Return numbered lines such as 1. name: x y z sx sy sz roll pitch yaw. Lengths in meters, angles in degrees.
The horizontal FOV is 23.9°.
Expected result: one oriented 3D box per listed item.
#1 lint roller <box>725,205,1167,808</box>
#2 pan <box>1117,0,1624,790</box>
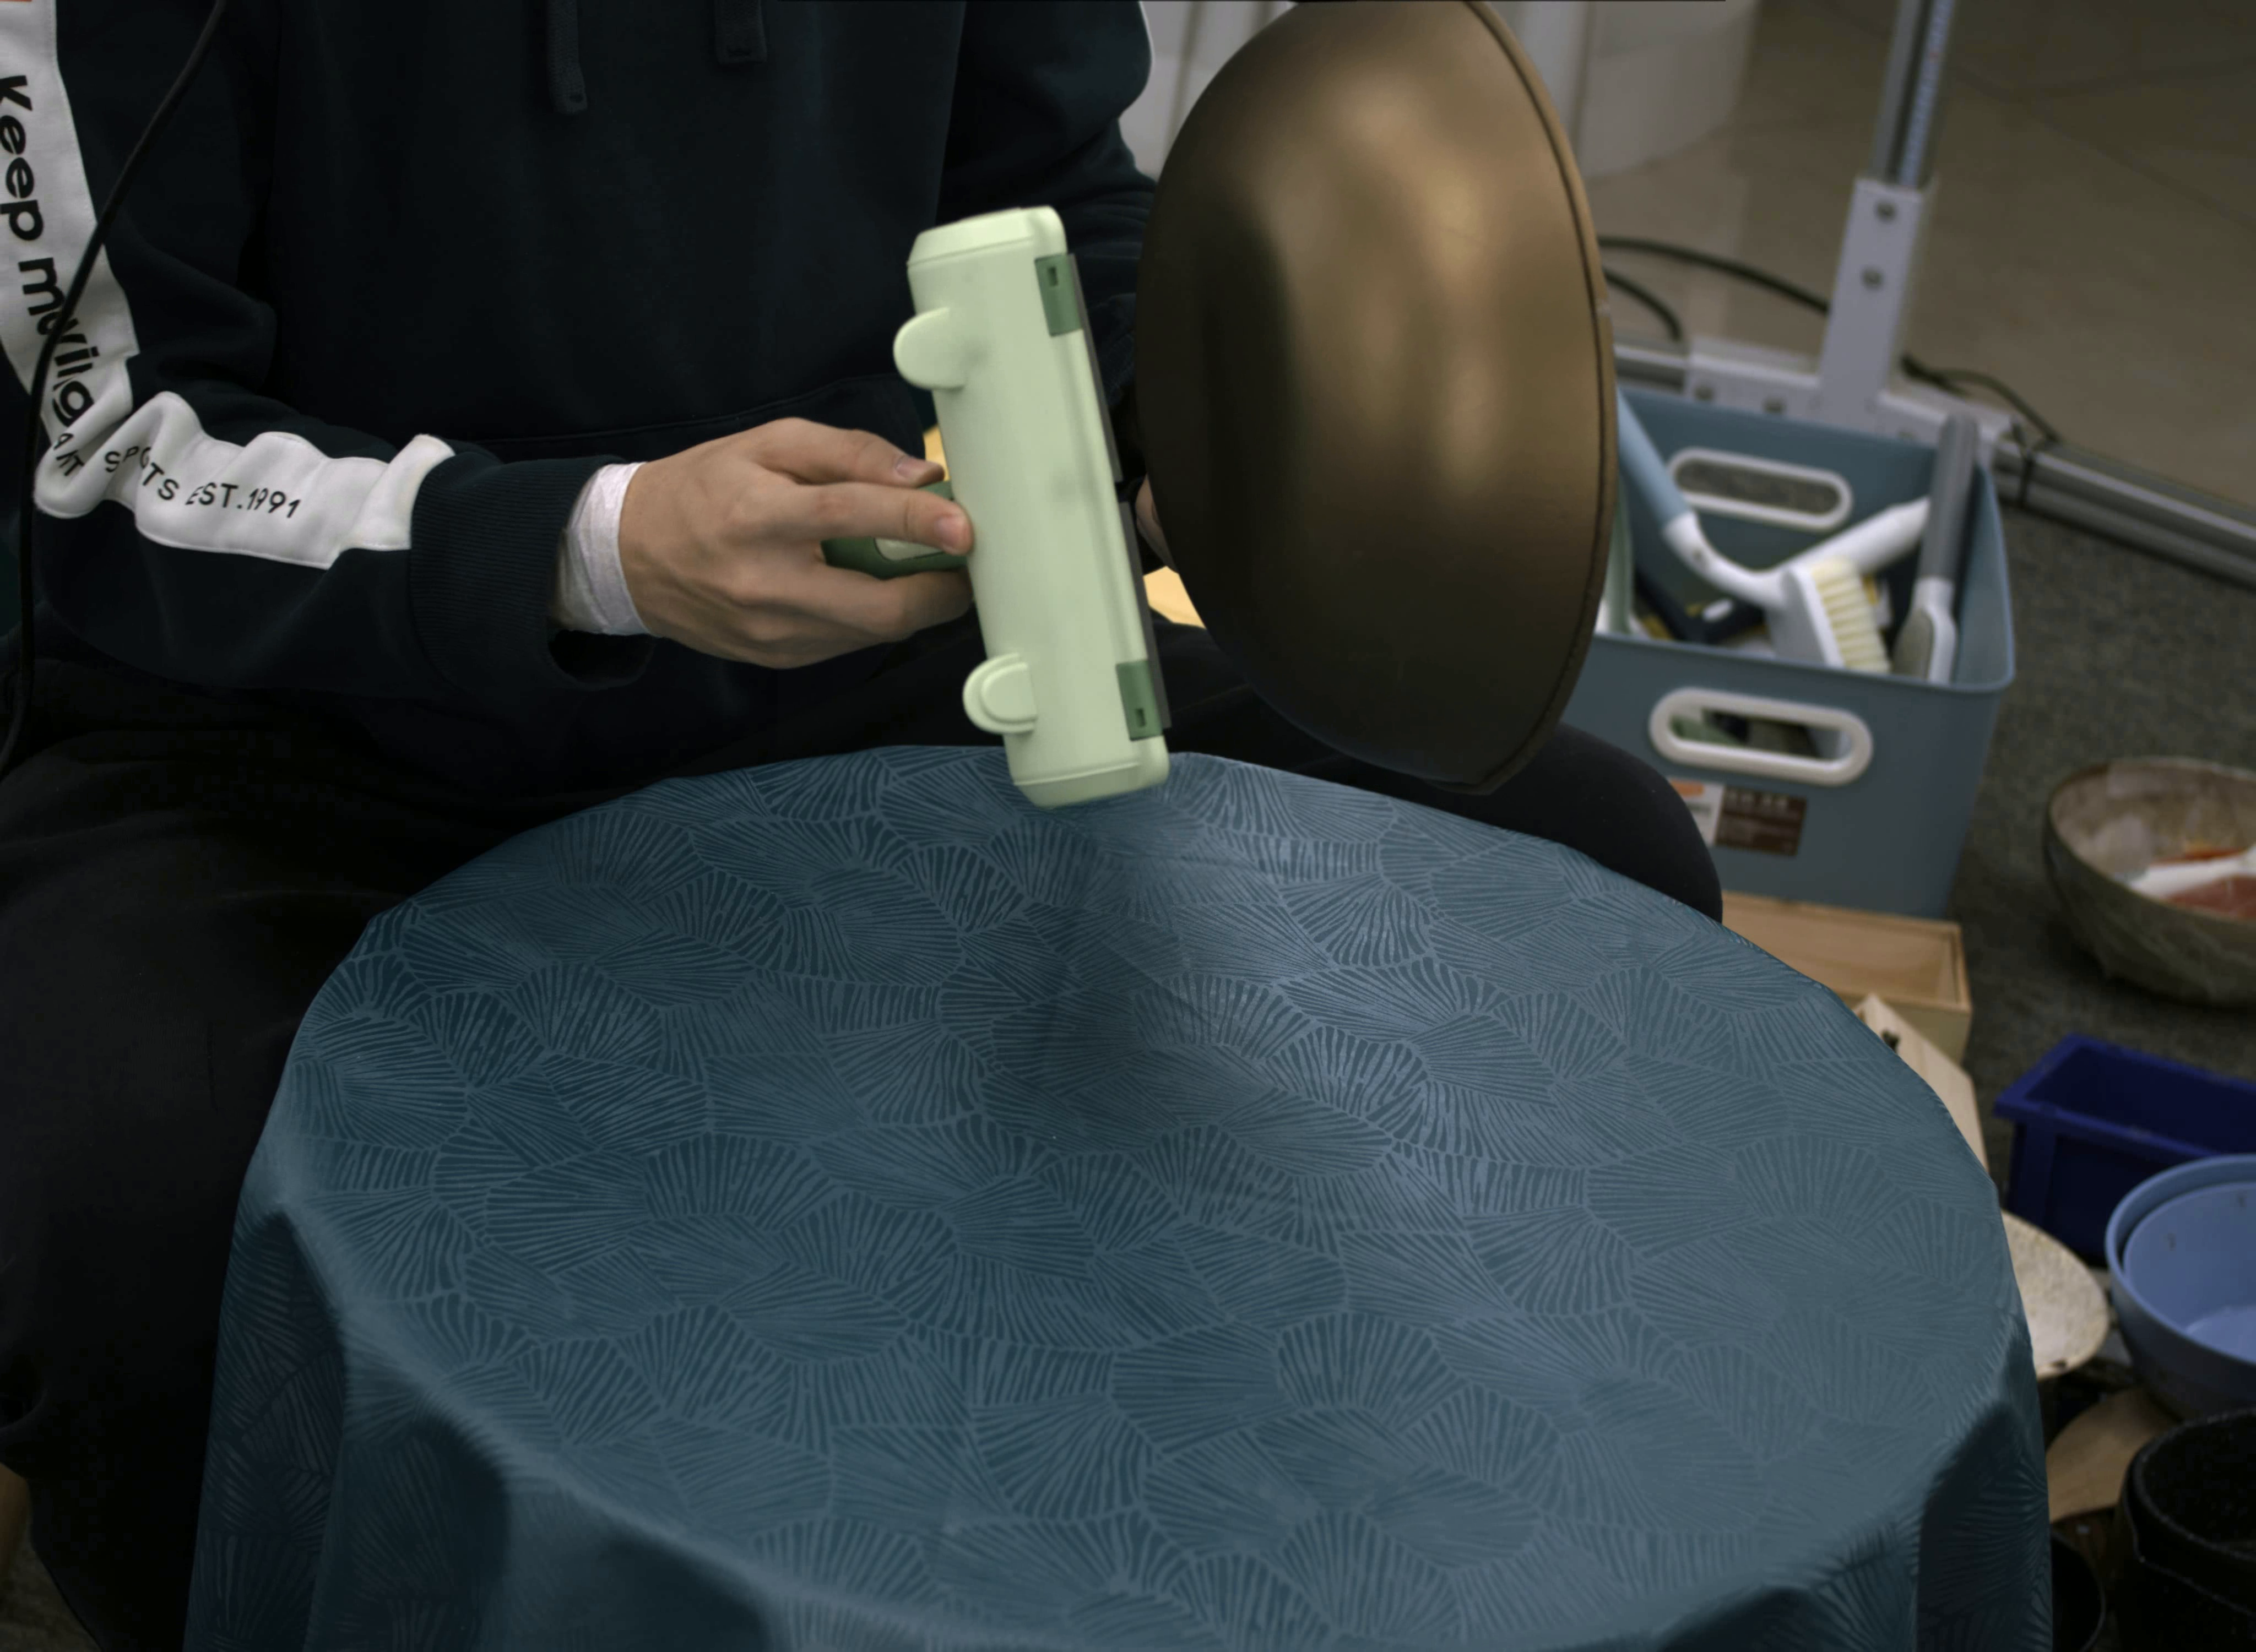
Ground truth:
1. lint roller: -0.080 -0.097 1.796 0.184 0.199 0.082 -9 4 33
2. pan: 0.036 -0.137 1.876 0.086 0.289 0.464 -5 -7 -21
